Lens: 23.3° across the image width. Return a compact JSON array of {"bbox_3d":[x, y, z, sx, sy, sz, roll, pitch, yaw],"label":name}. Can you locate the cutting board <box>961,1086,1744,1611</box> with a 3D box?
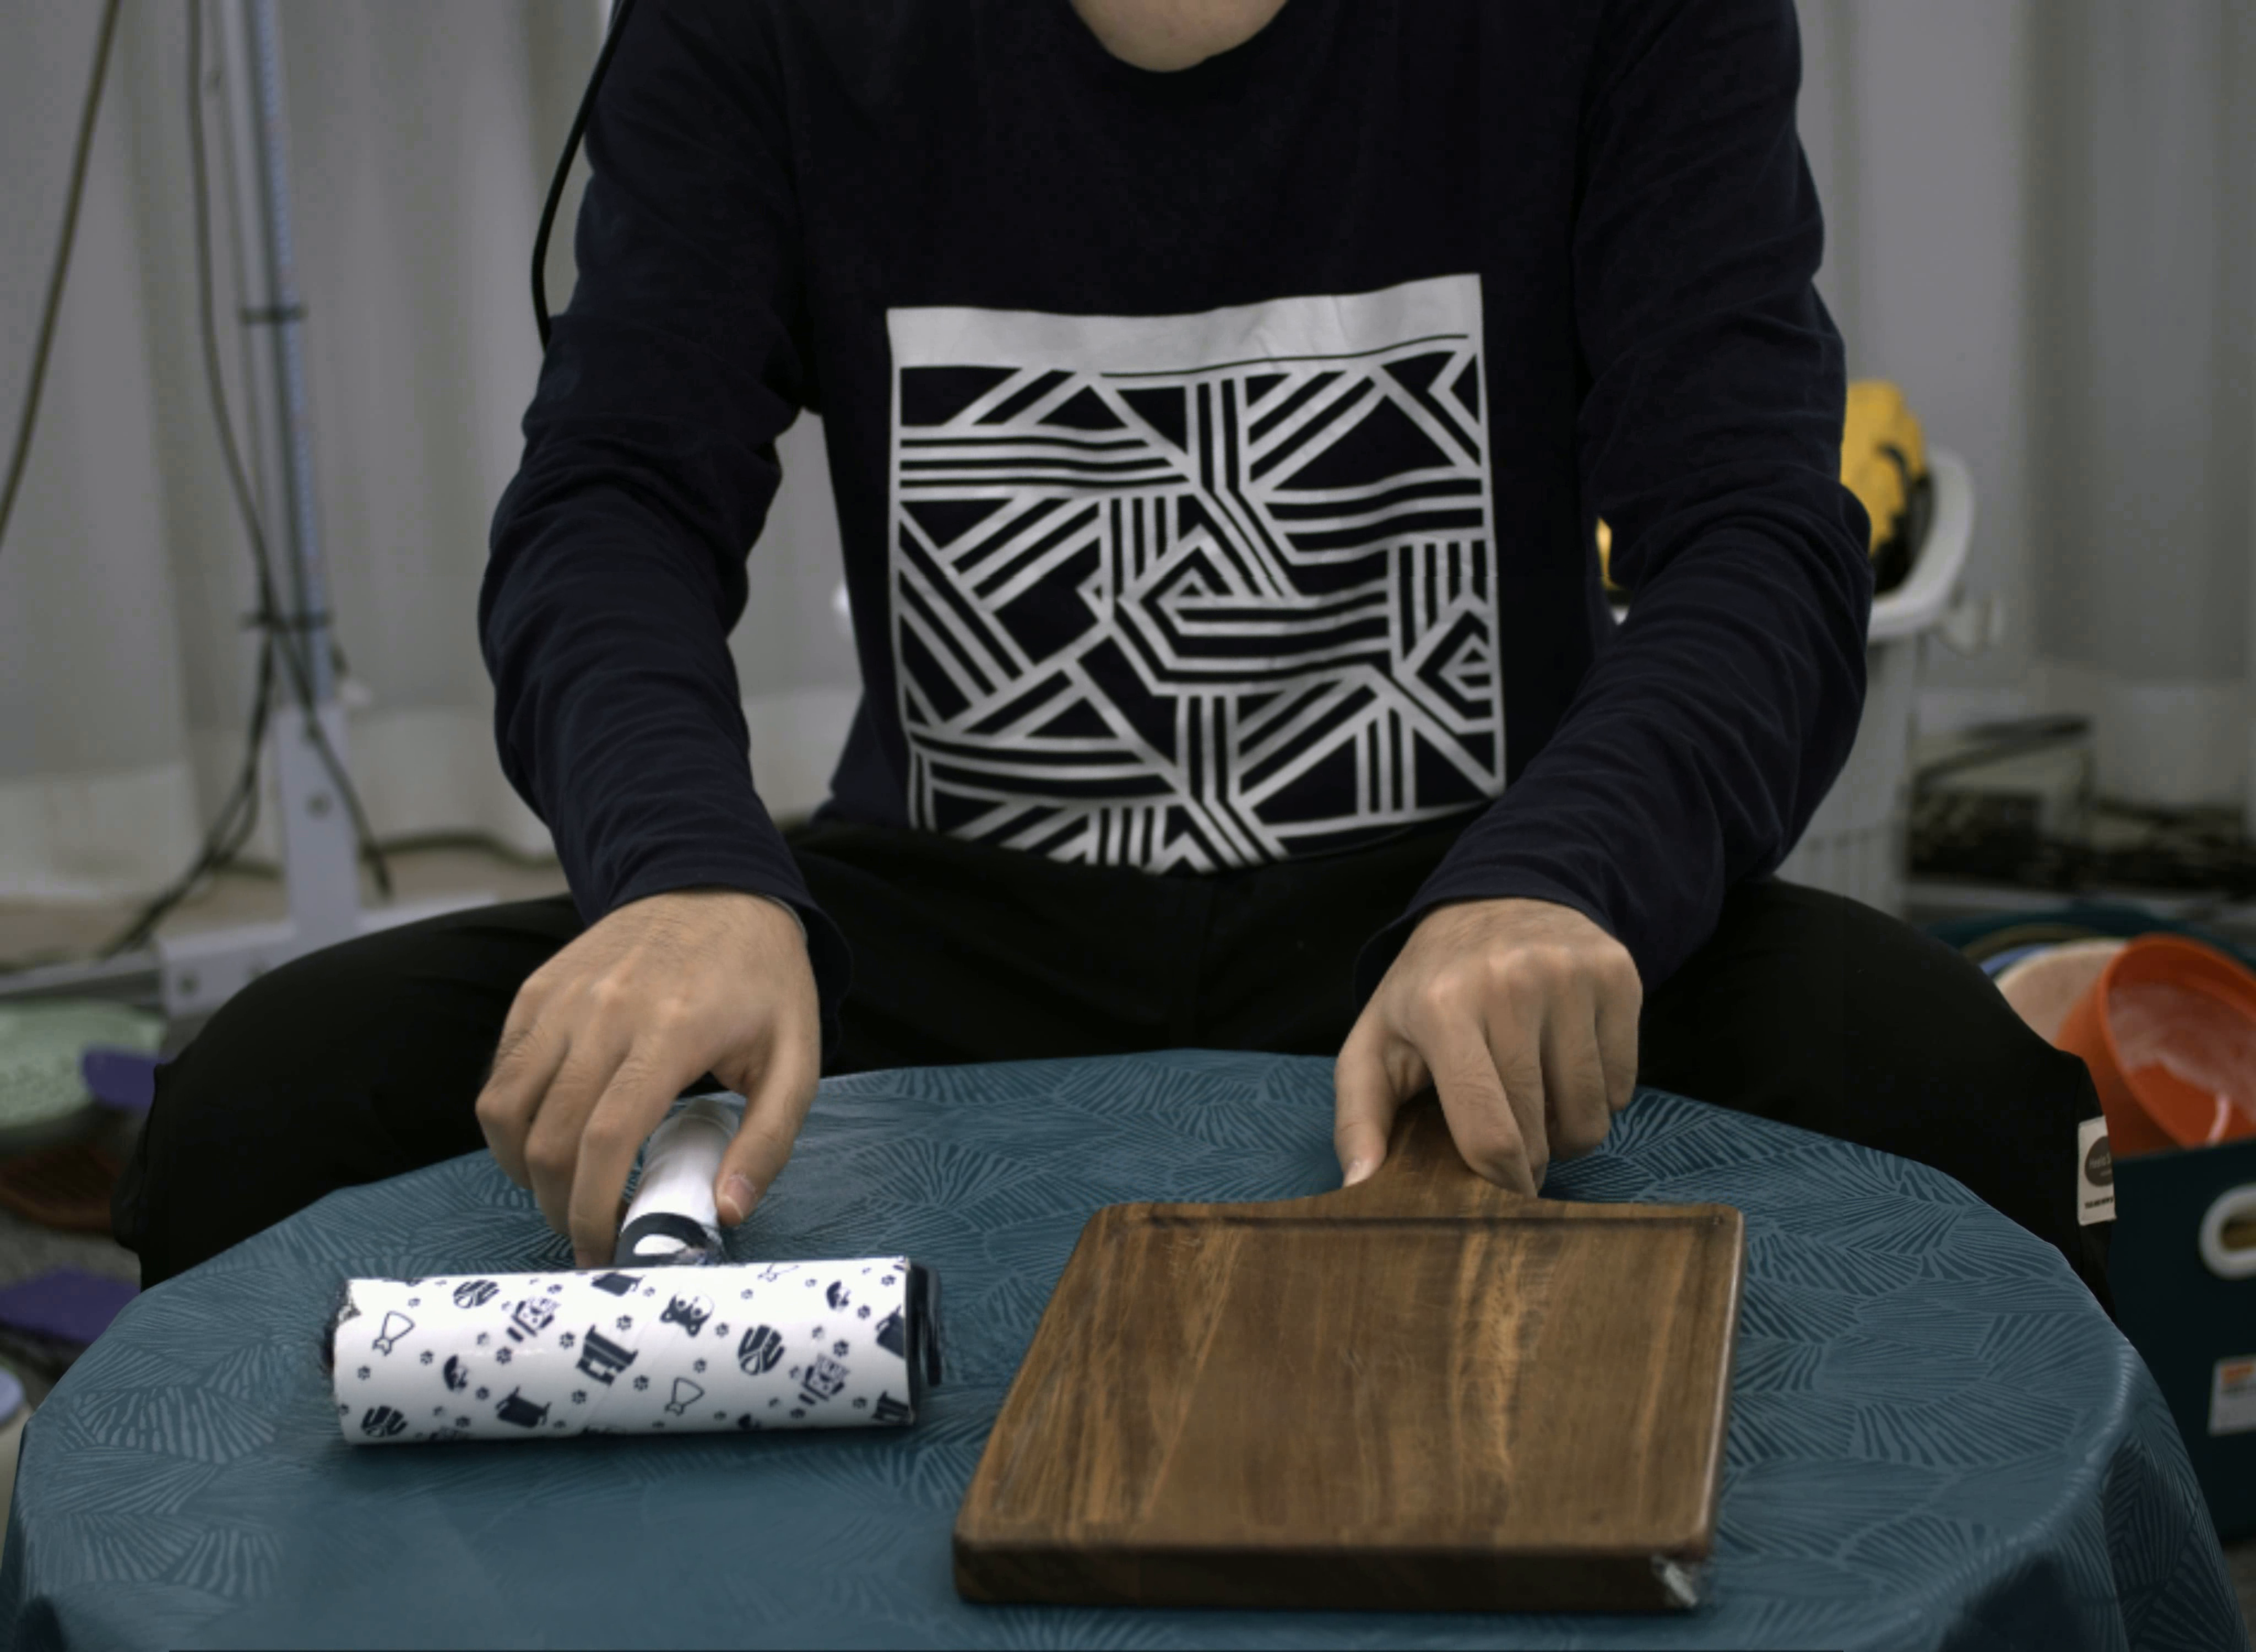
[{"bbox_3d":[0.075,0.140,1.547,0.200,0.023,0.354,-1,16,8],"label":"cutting board"}]

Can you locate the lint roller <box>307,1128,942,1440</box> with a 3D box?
[{"bbox_3d":[-0.140,0.124,1.630,0.176,0.050,0.248,-3,12,1],"label":"lint roller"}]
